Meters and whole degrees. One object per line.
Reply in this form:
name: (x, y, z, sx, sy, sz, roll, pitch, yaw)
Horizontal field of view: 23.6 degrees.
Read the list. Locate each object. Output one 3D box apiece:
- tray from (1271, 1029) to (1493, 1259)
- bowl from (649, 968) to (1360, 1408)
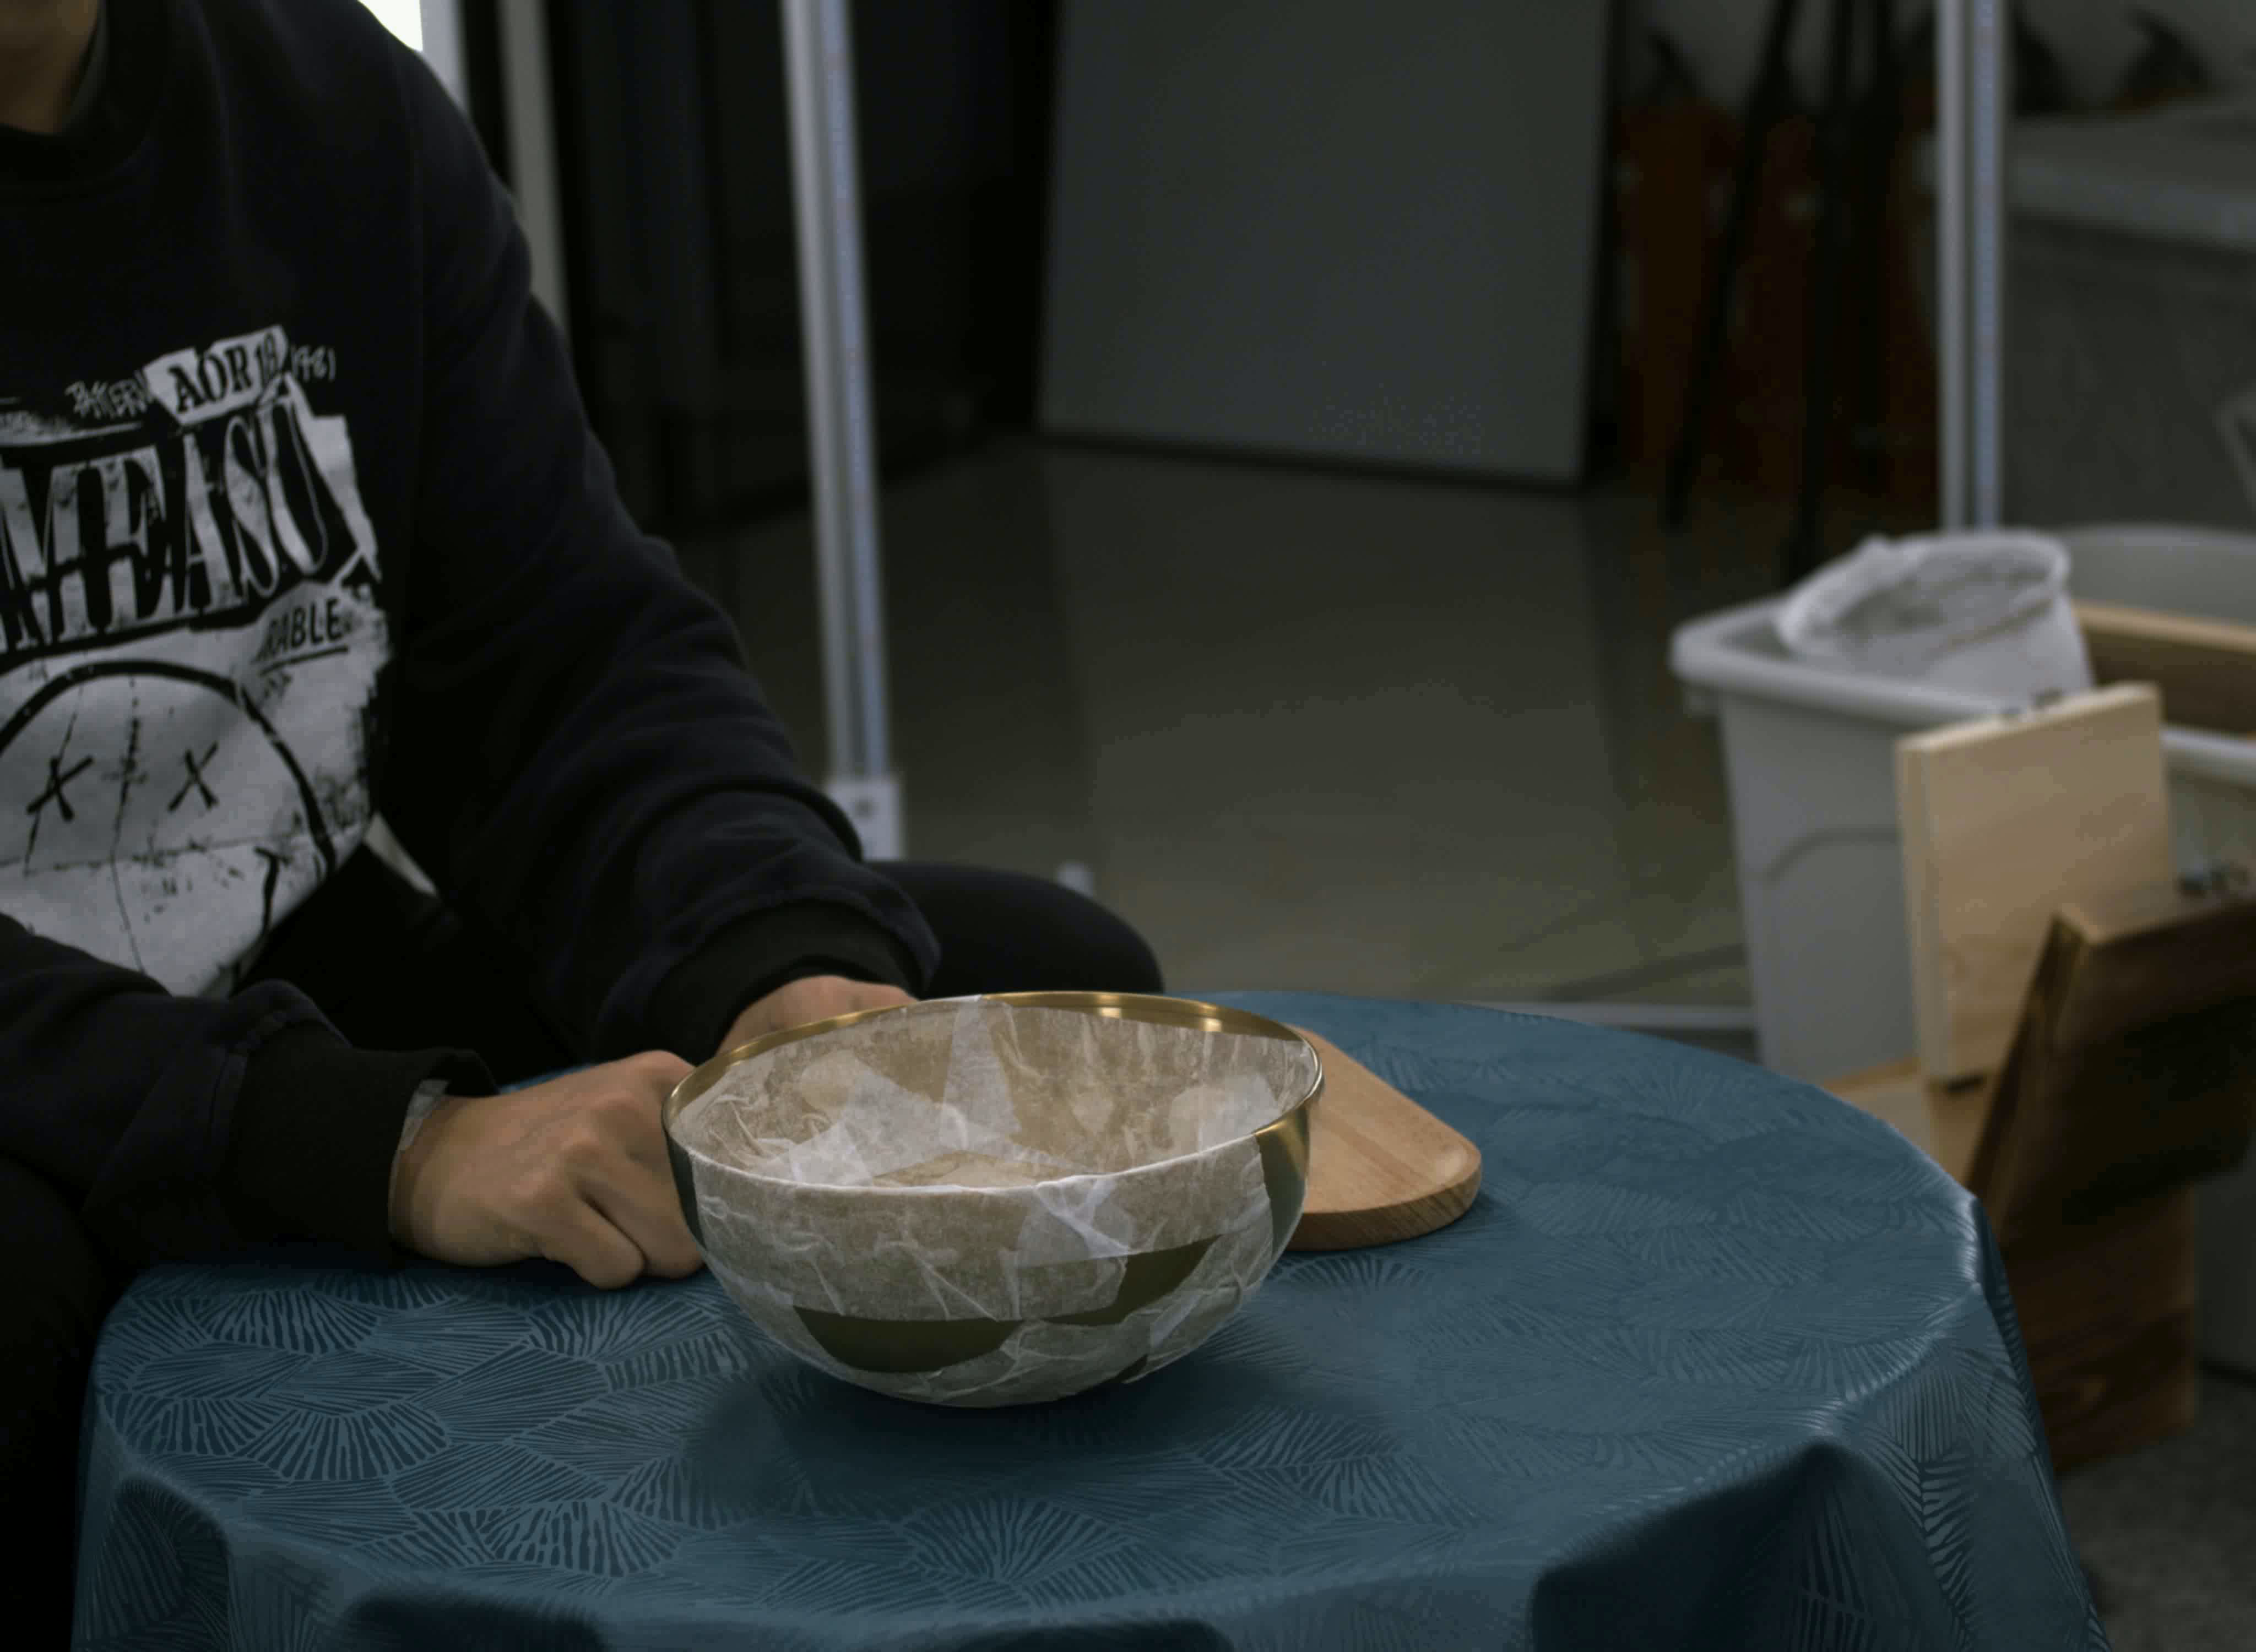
tray: (0.046, 0.103, 1.798, 0.099, 0.020, 0.233, -11, 17, -17)
bowl: (-0.034, 0.116, 1.603, 0.212, 0.095, 0.215, -5, 14, 0)
